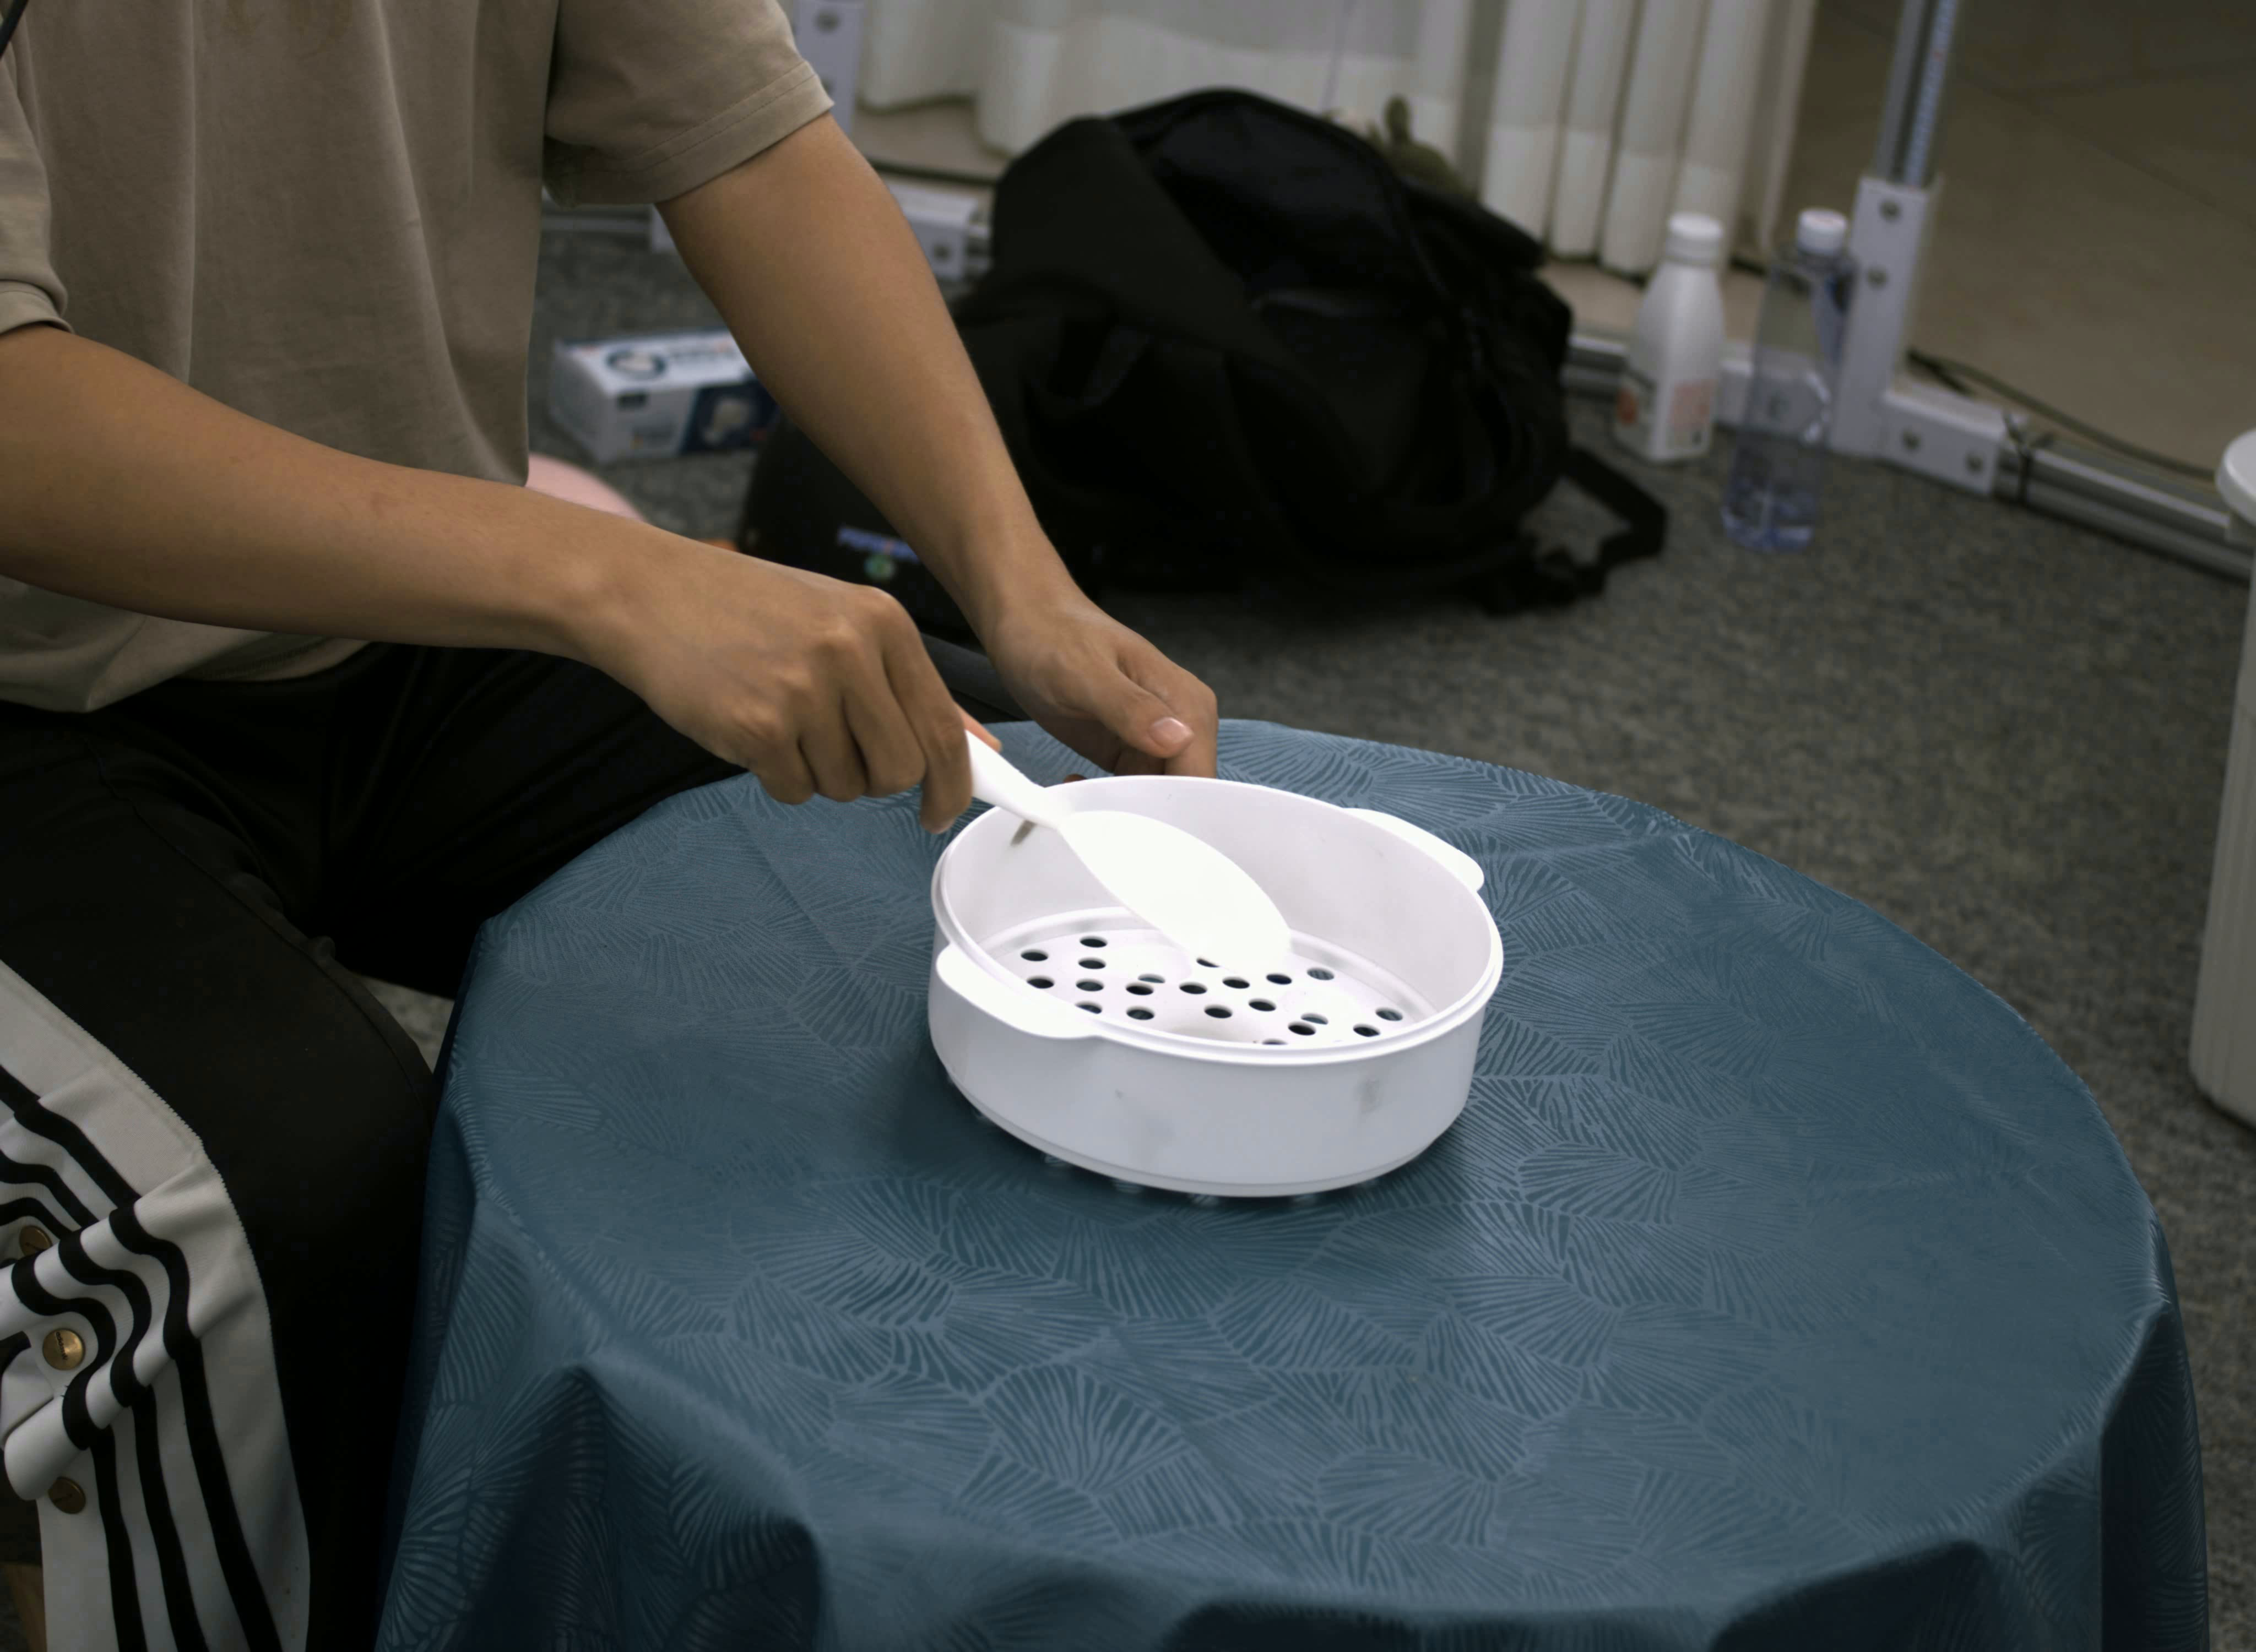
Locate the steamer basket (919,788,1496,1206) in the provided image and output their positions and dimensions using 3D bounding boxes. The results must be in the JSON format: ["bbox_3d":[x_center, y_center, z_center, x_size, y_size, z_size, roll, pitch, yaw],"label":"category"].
[{"bbox_3d":[0.025,0.060,1.864,0.229,0.069,0.203,-16,35,-42],"label":"steamer basket"}]

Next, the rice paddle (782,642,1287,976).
[{"bbox_3d":[-0.026,-0.004,1.841,0.204,0.029,0.069,29,30,-19],"label":"rice paddle"}]
